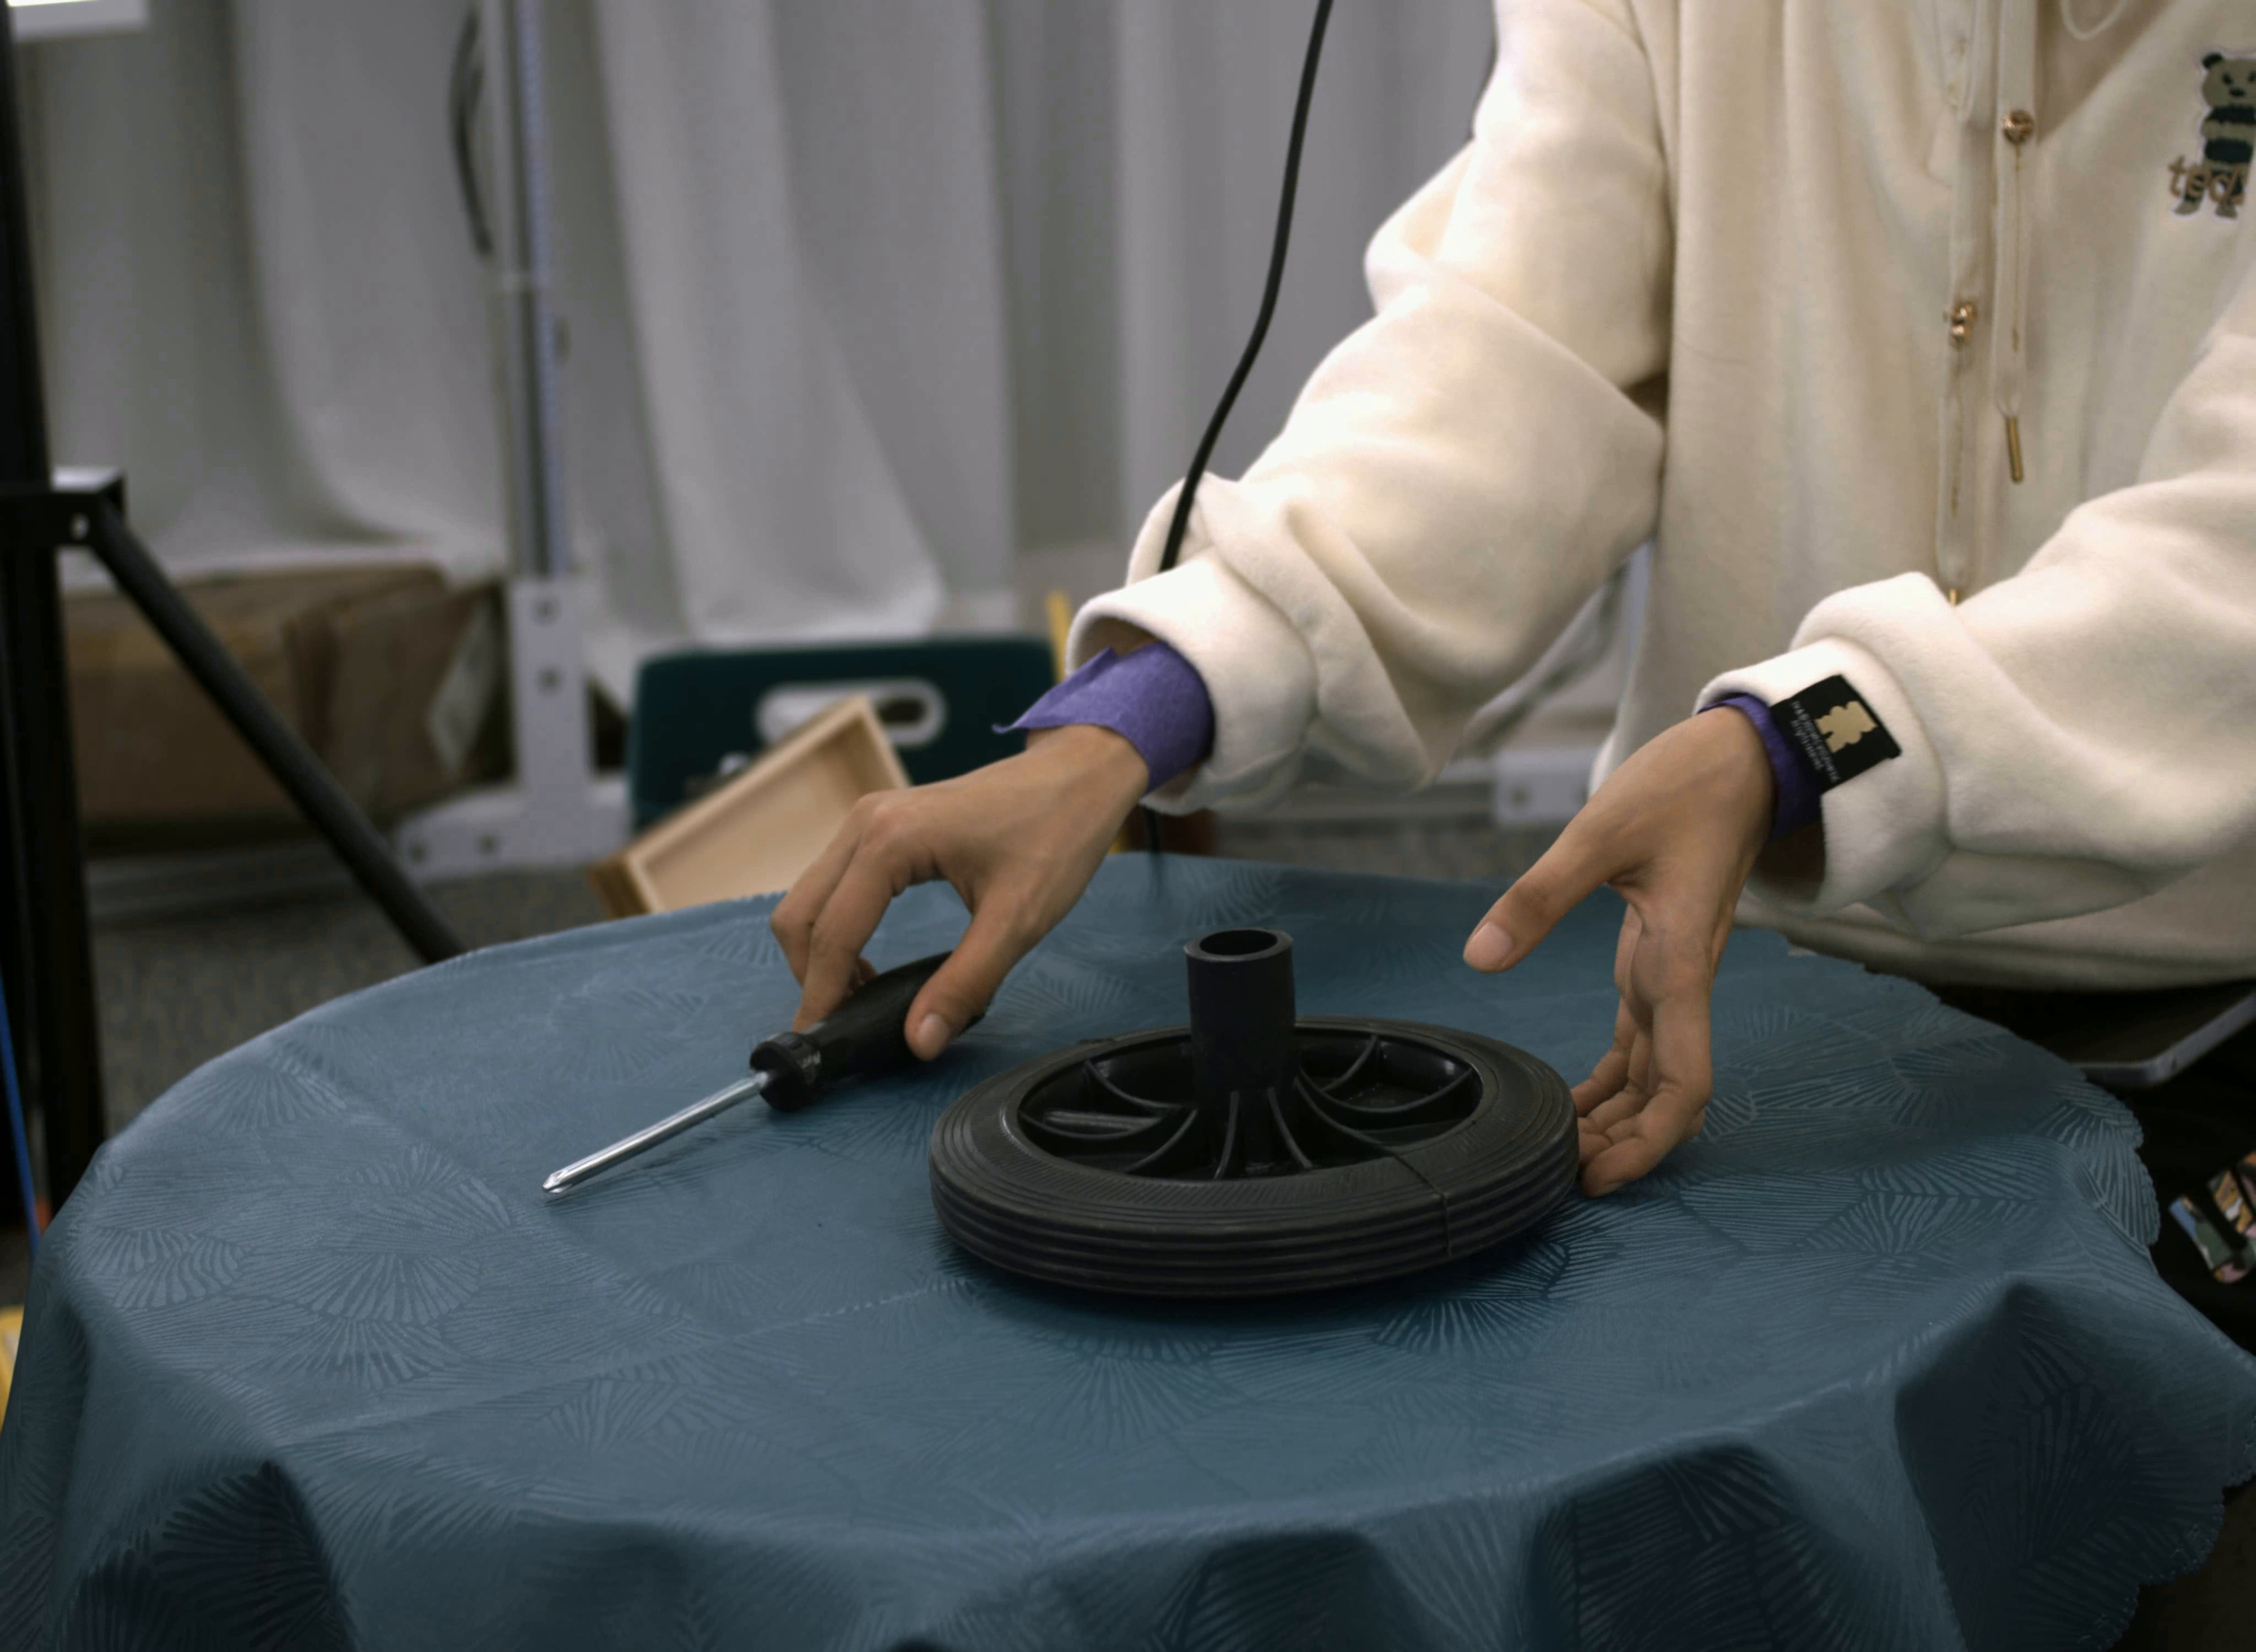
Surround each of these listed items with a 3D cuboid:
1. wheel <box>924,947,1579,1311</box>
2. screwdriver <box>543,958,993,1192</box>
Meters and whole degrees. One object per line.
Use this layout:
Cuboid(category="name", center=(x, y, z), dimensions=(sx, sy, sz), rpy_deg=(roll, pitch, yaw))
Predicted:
Cuboid(category="wheel", center=(0.033, 0.077, 1.525), dimensions=(0.190, 0.079, 0.188), rpy_deg=(-5, 16, 5))
Cuboid(category="screwdriver", center=(-0.108, 0.078, 1.637), dimensions=(0.032, 0.031, 0.192), rpy_deg=(10, 22, 36))
